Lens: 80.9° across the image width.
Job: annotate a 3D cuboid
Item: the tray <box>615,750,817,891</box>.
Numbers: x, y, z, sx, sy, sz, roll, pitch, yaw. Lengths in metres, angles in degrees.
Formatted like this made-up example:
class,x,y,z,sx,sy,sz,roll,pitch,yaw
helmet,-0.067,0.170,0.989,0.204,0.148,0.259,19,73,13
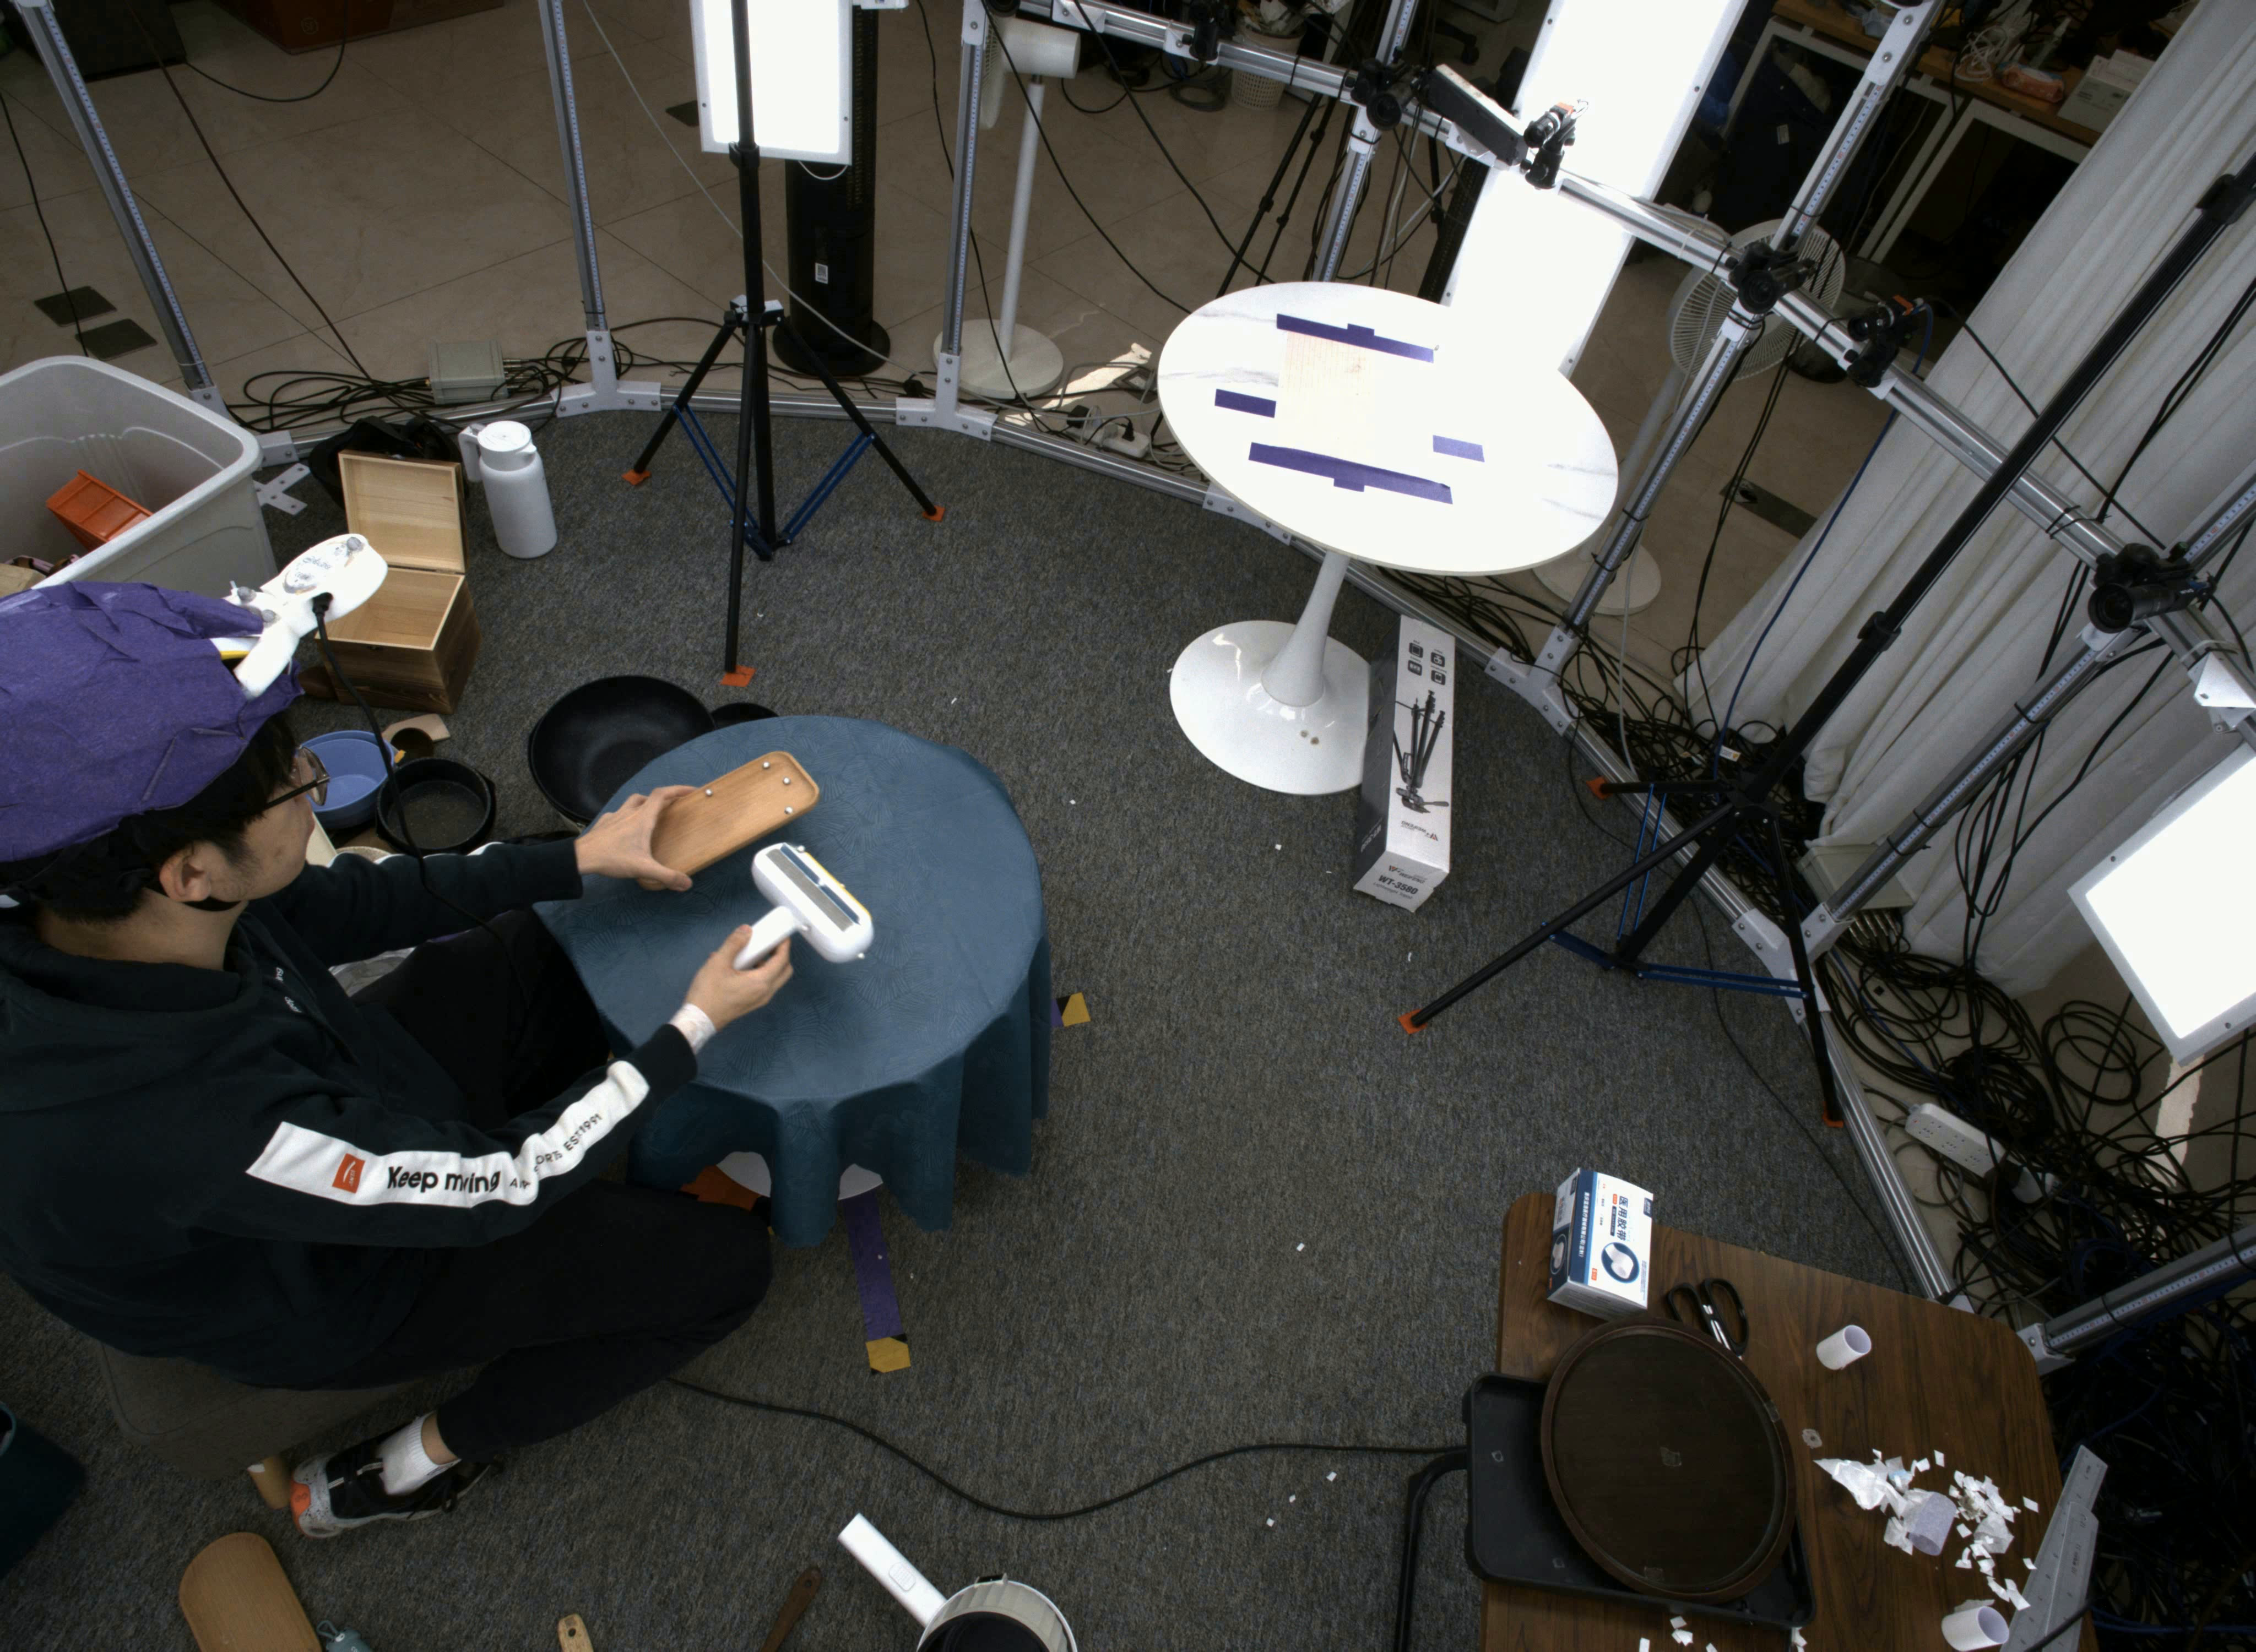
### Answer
class,x,y,z,sx,sy,sz,roll,pitch,yaw
tray,-0.520,-0.010,1.626,0.251,0.023,0.126,-31,50,-21

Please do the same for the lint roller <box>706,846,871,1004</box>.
class,x,y,z,sx,sy,sz,roll,pitch,yaw
lint roller,-0.417,0.130,1.521,0.192,0.076,0.187,-36,59,-16
